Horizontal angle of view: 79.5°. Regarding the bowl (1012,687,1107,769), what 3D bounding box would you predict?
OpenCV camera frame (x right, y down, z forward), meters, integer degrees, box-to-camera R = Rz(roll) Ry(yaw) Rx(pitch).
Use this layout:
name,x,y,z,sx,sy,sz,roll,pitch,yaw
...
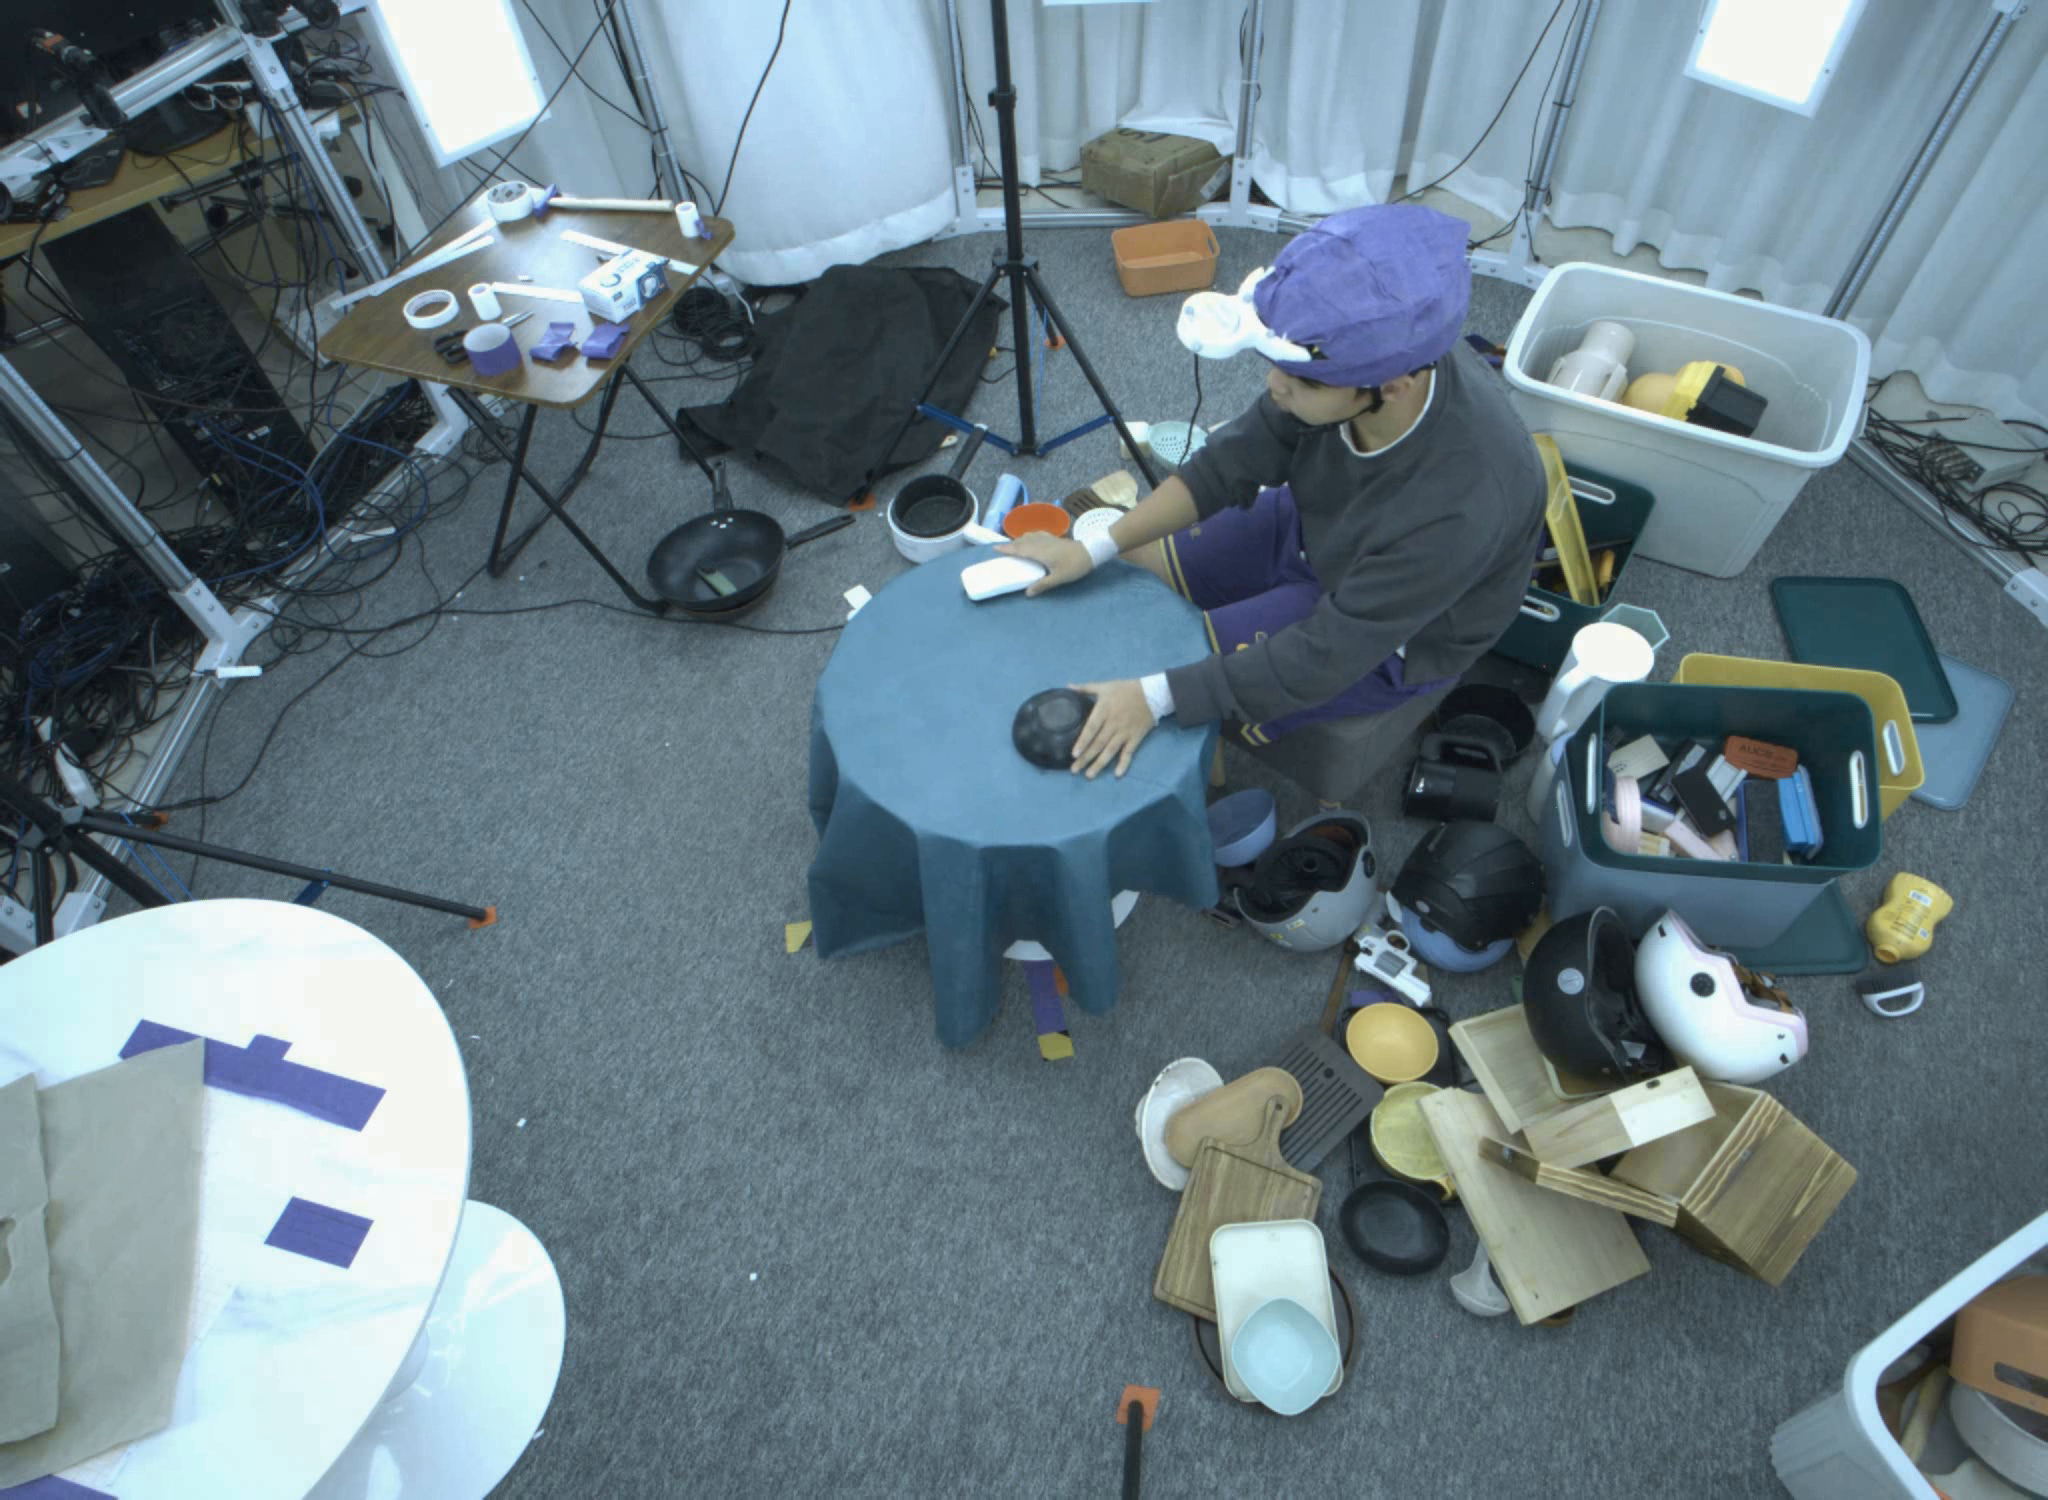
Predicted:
name,x,y,z,sx,sy,sz,roll,pitch,yaw
bowl,0.051,-0.042,1.786,0.140,0.050,0.138,-1,54,3

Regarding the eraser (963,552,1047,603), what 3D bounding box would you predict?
name,x,y,z,sx,sy,sz,roll,pitch,yaw
eraser,-0.031,-0.277,1.968,0.132,0.035,0.062,-15,57,-6
